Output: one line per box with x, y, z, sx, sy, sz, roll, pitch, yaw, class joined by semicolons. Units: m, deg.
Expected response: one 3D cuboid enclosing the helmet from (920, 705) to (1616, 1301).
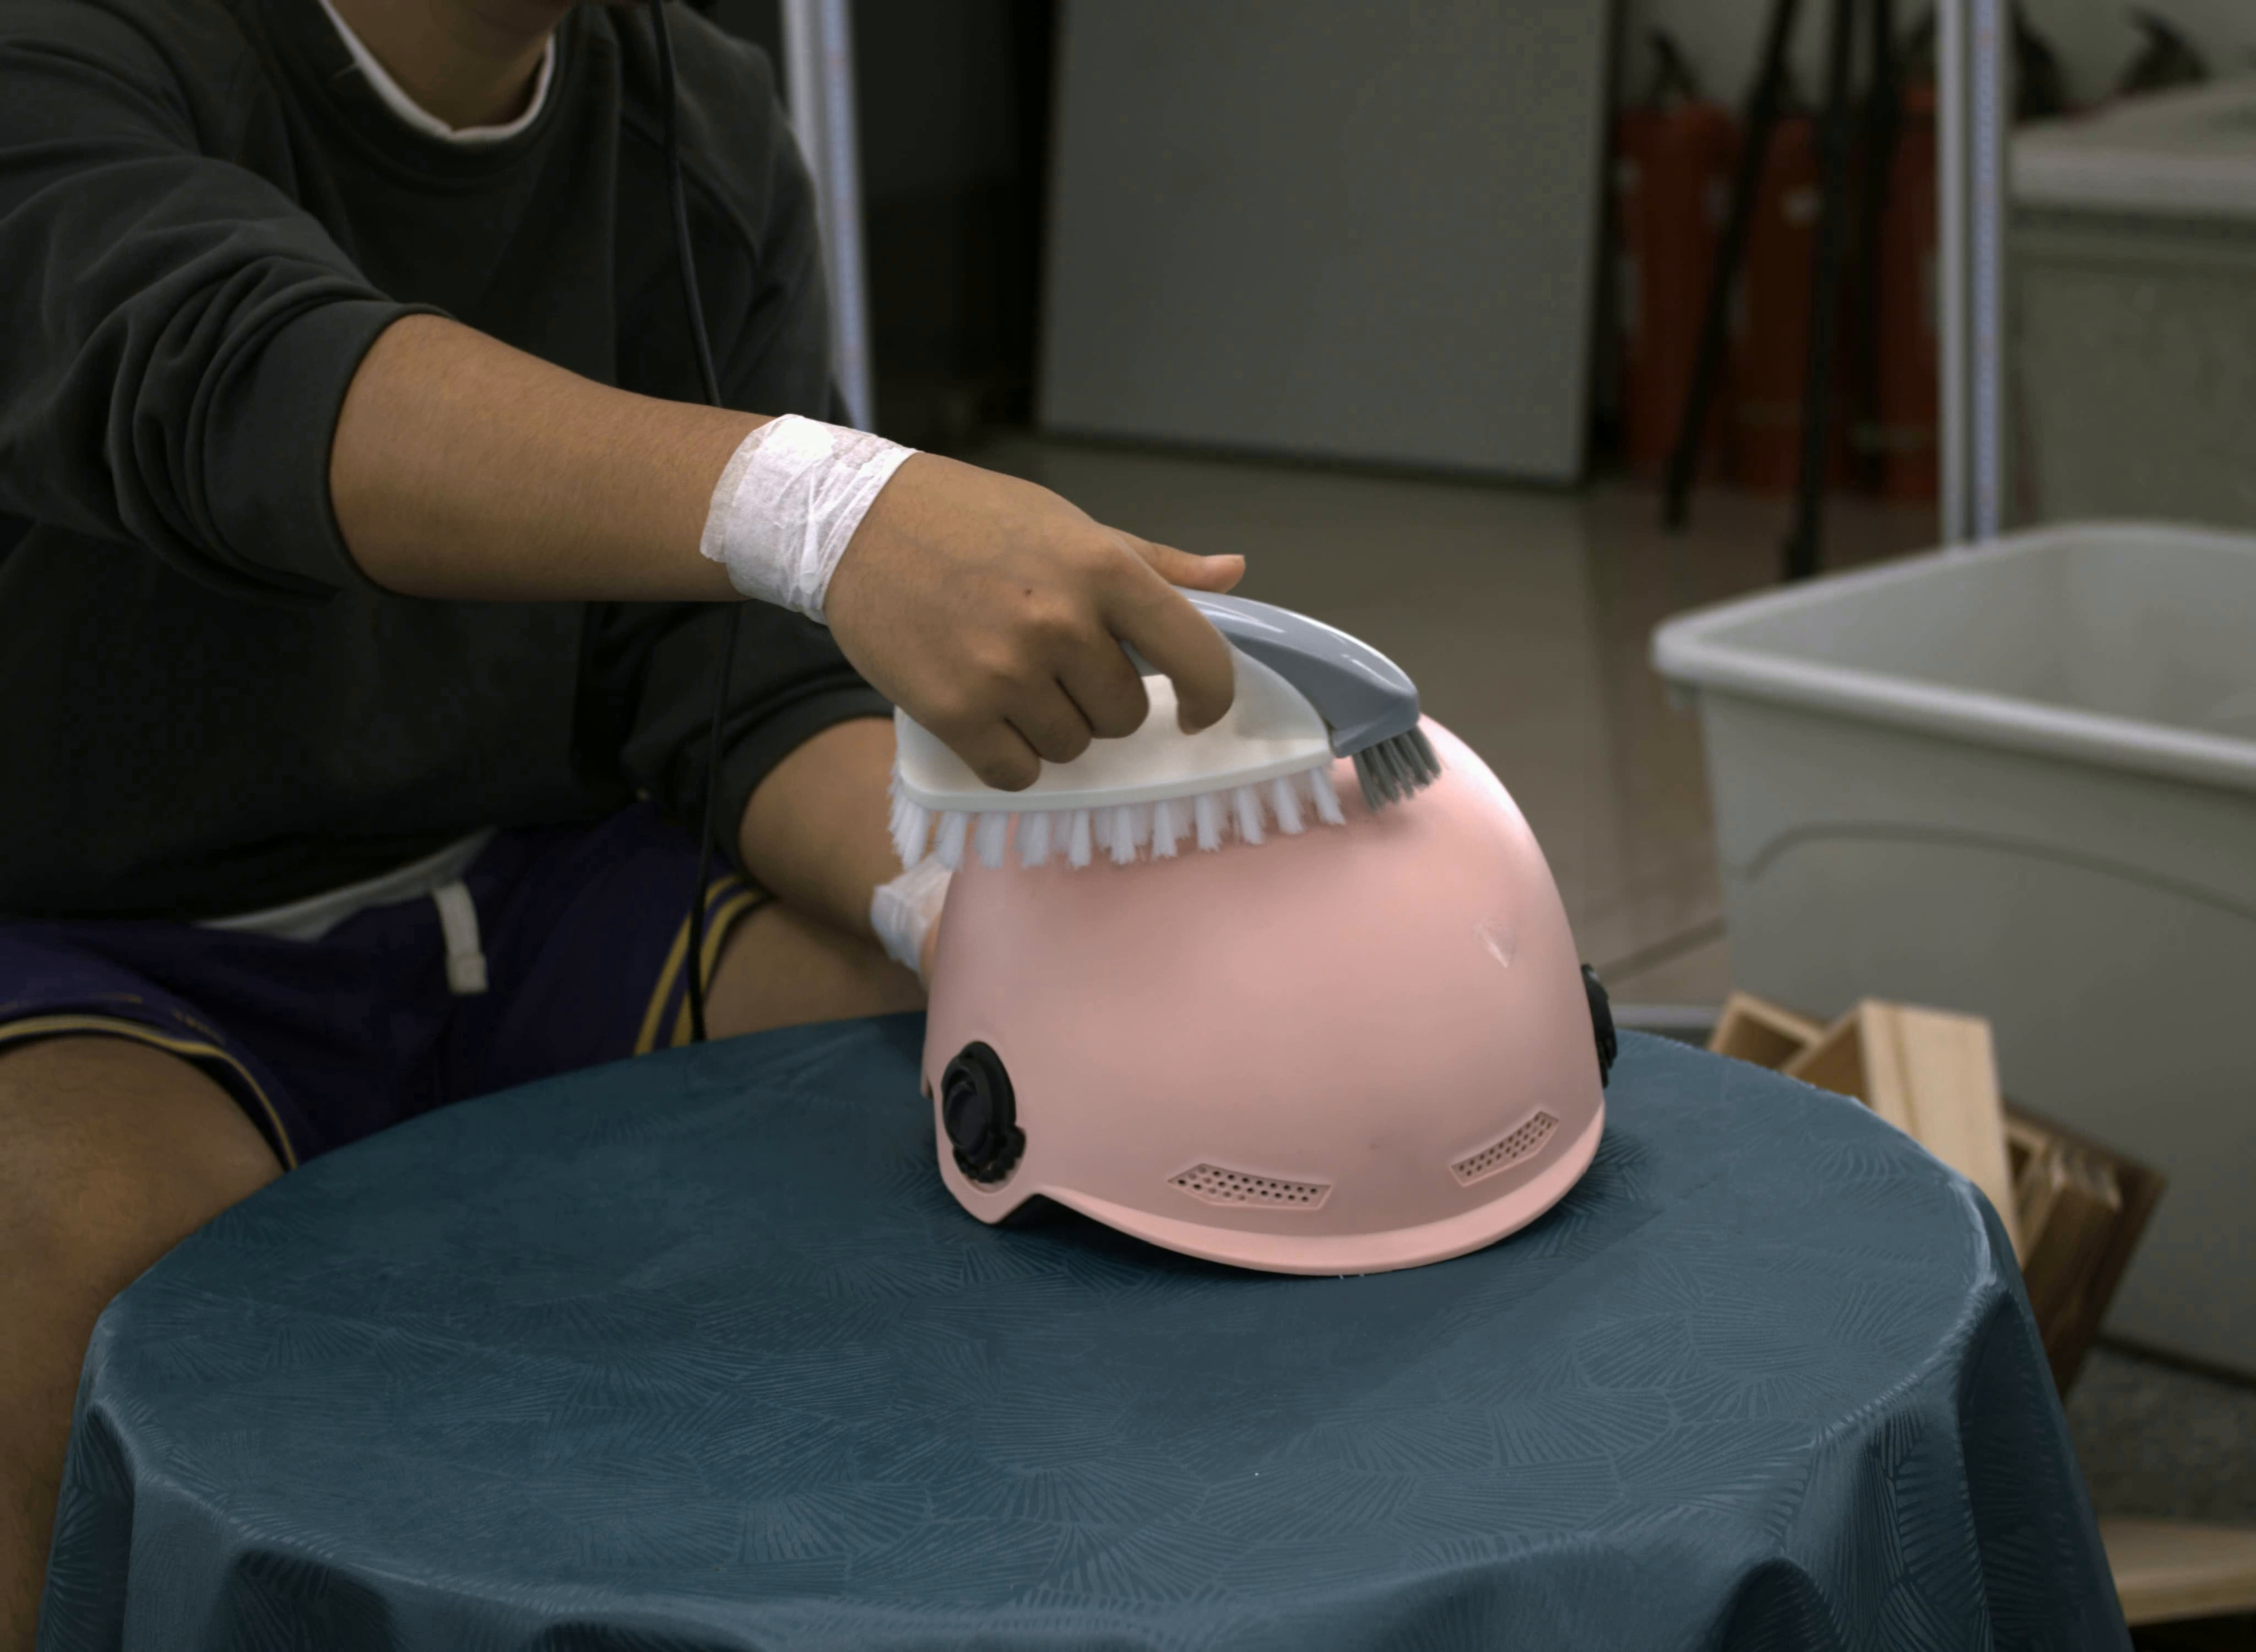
0.044;0.038;1.772;0.229;0.160;0.268;-7;21;-16;helmet

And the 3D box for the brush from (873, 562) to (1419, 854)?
0.007;-0.045;1.679;0.173;0.094;0.062;-1;47;-2;brush
